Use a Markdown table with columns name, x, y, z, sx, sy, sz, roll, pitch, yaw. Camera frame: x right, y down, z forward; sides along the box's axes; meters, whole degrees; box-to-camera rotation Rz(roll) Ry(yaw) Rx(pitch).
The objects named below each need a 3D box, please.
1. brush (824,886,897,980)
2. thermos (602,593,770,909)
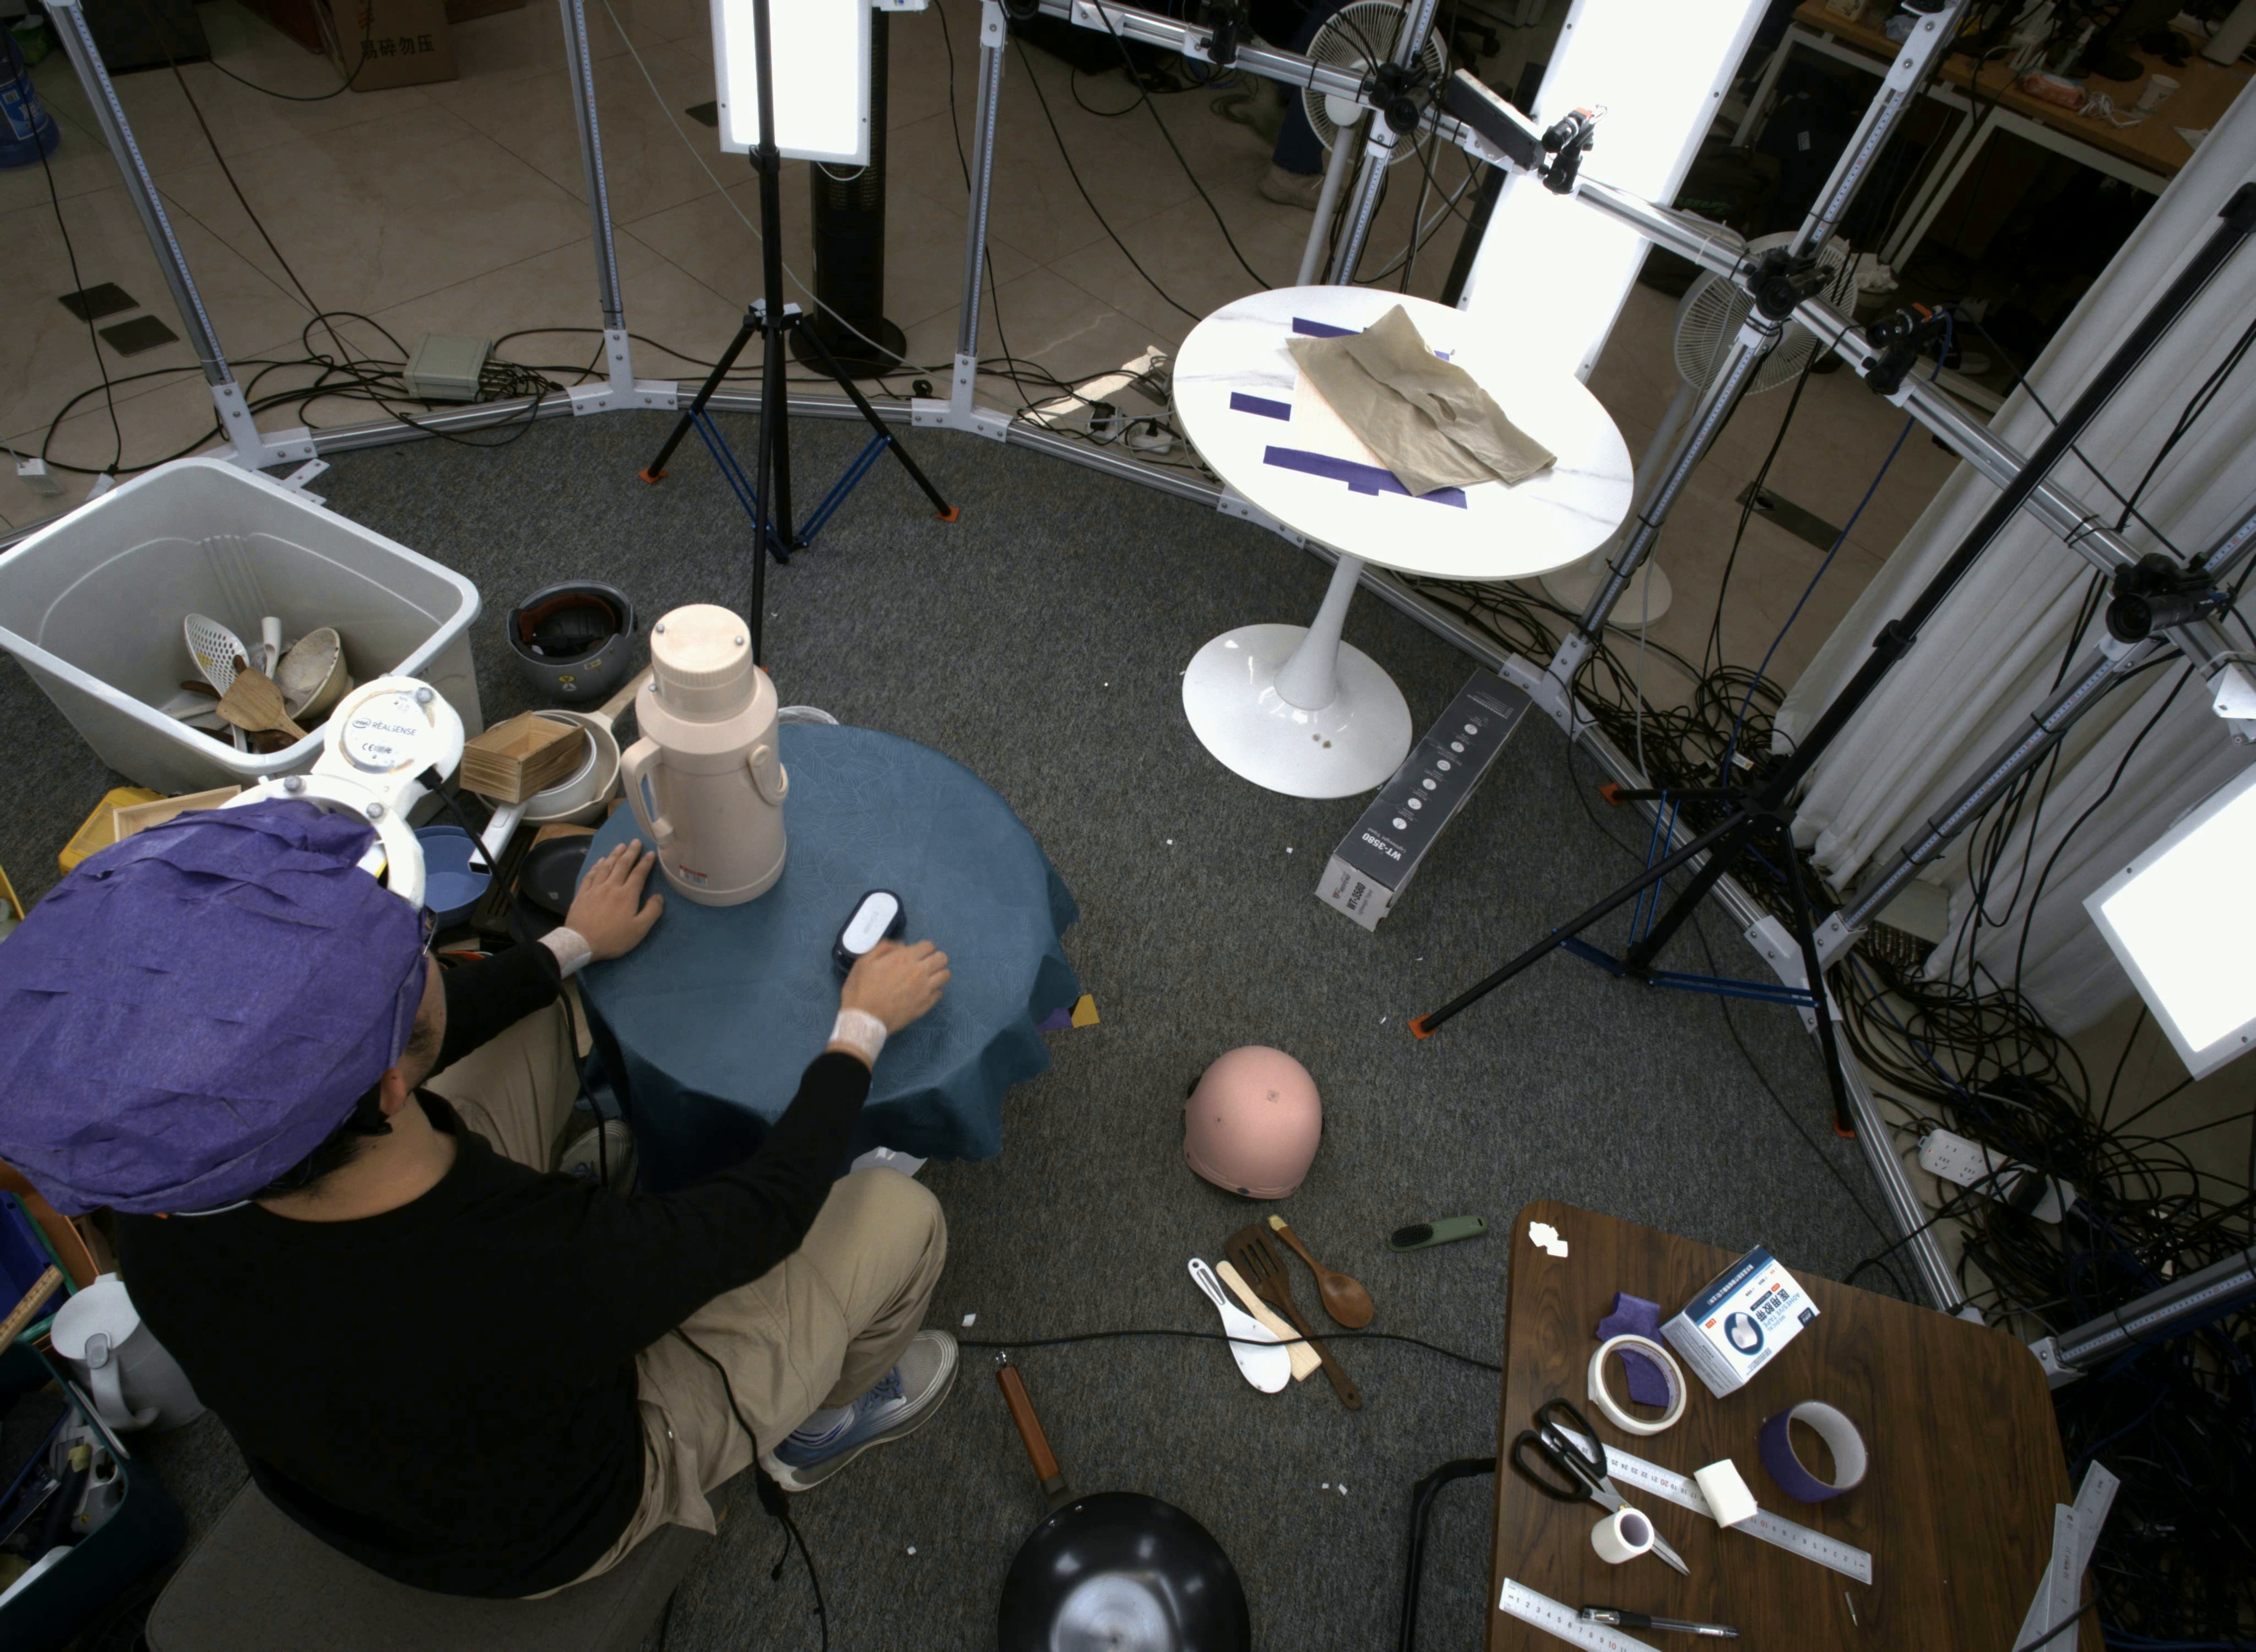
| name | x | y | z | sx | sy | sz | roll | pitch | yaw |
| --- | --- | --- | --- | --- | --- | --- | --- | --- | --- |
| brush | -0.331 | 0.132 | 1.609 | 0.067 | 0.062 | 0.120 | 21 | 51 | 7 |
| thermos | -0.517 | -0.076 | 1.494 | 0.172 | 0.414 | 0.207 | 34 | 53 | 13 |
